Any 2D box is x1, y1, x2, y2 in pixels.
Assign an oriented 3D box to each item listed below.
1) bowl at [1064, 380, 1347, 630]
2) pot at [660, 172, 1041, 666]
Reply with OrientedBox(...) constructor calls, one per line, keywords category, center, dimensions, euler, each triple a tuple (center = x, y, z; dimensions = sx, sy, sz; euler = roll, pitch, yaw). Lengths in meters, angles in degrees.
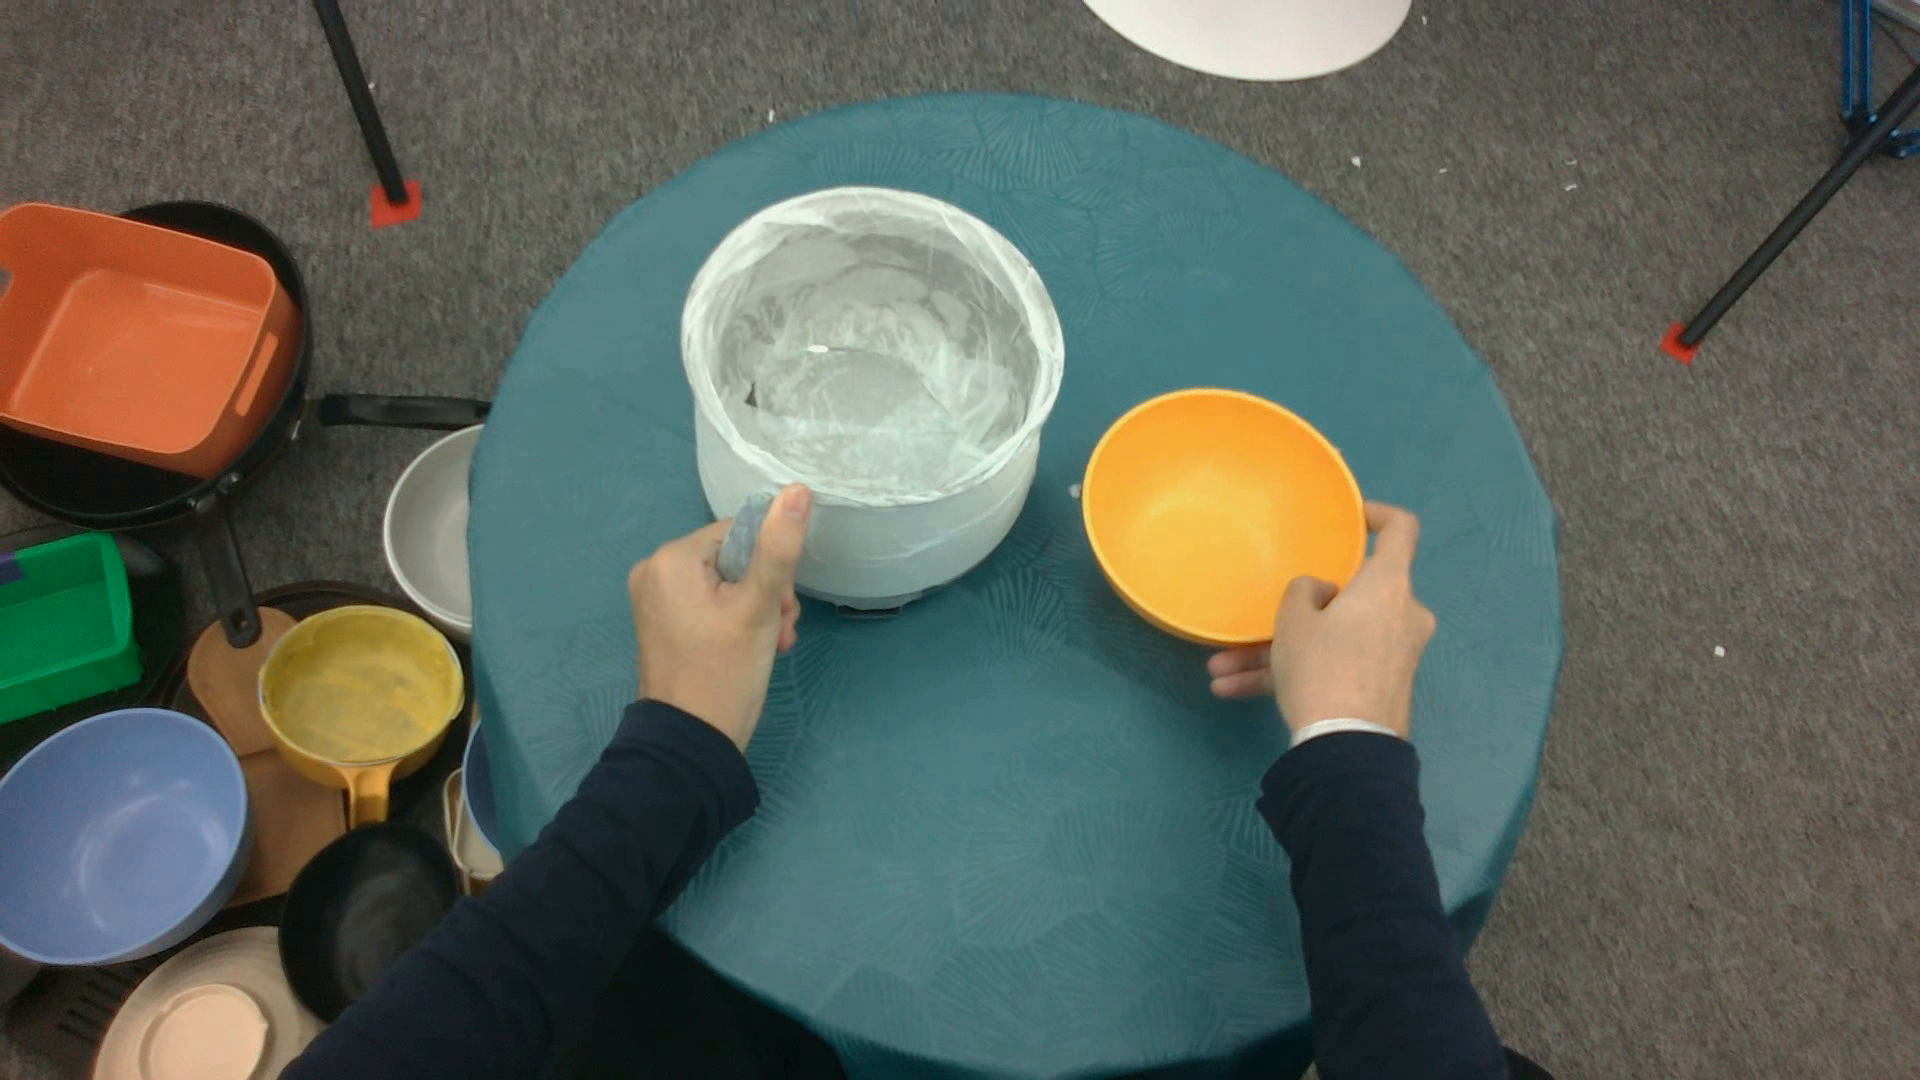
OrientedBox(category="bowl", center=(0.122, -0.009, 0.720), dimensions=(0.145, 0.060, 0.146), euler=(3, 60, -4))
OrientedBox(category="pot", center=(-0.066, -0.052, 0.681), dimensions=(0.178, 0.136, 0.235), euler=(24, 62, 8))
